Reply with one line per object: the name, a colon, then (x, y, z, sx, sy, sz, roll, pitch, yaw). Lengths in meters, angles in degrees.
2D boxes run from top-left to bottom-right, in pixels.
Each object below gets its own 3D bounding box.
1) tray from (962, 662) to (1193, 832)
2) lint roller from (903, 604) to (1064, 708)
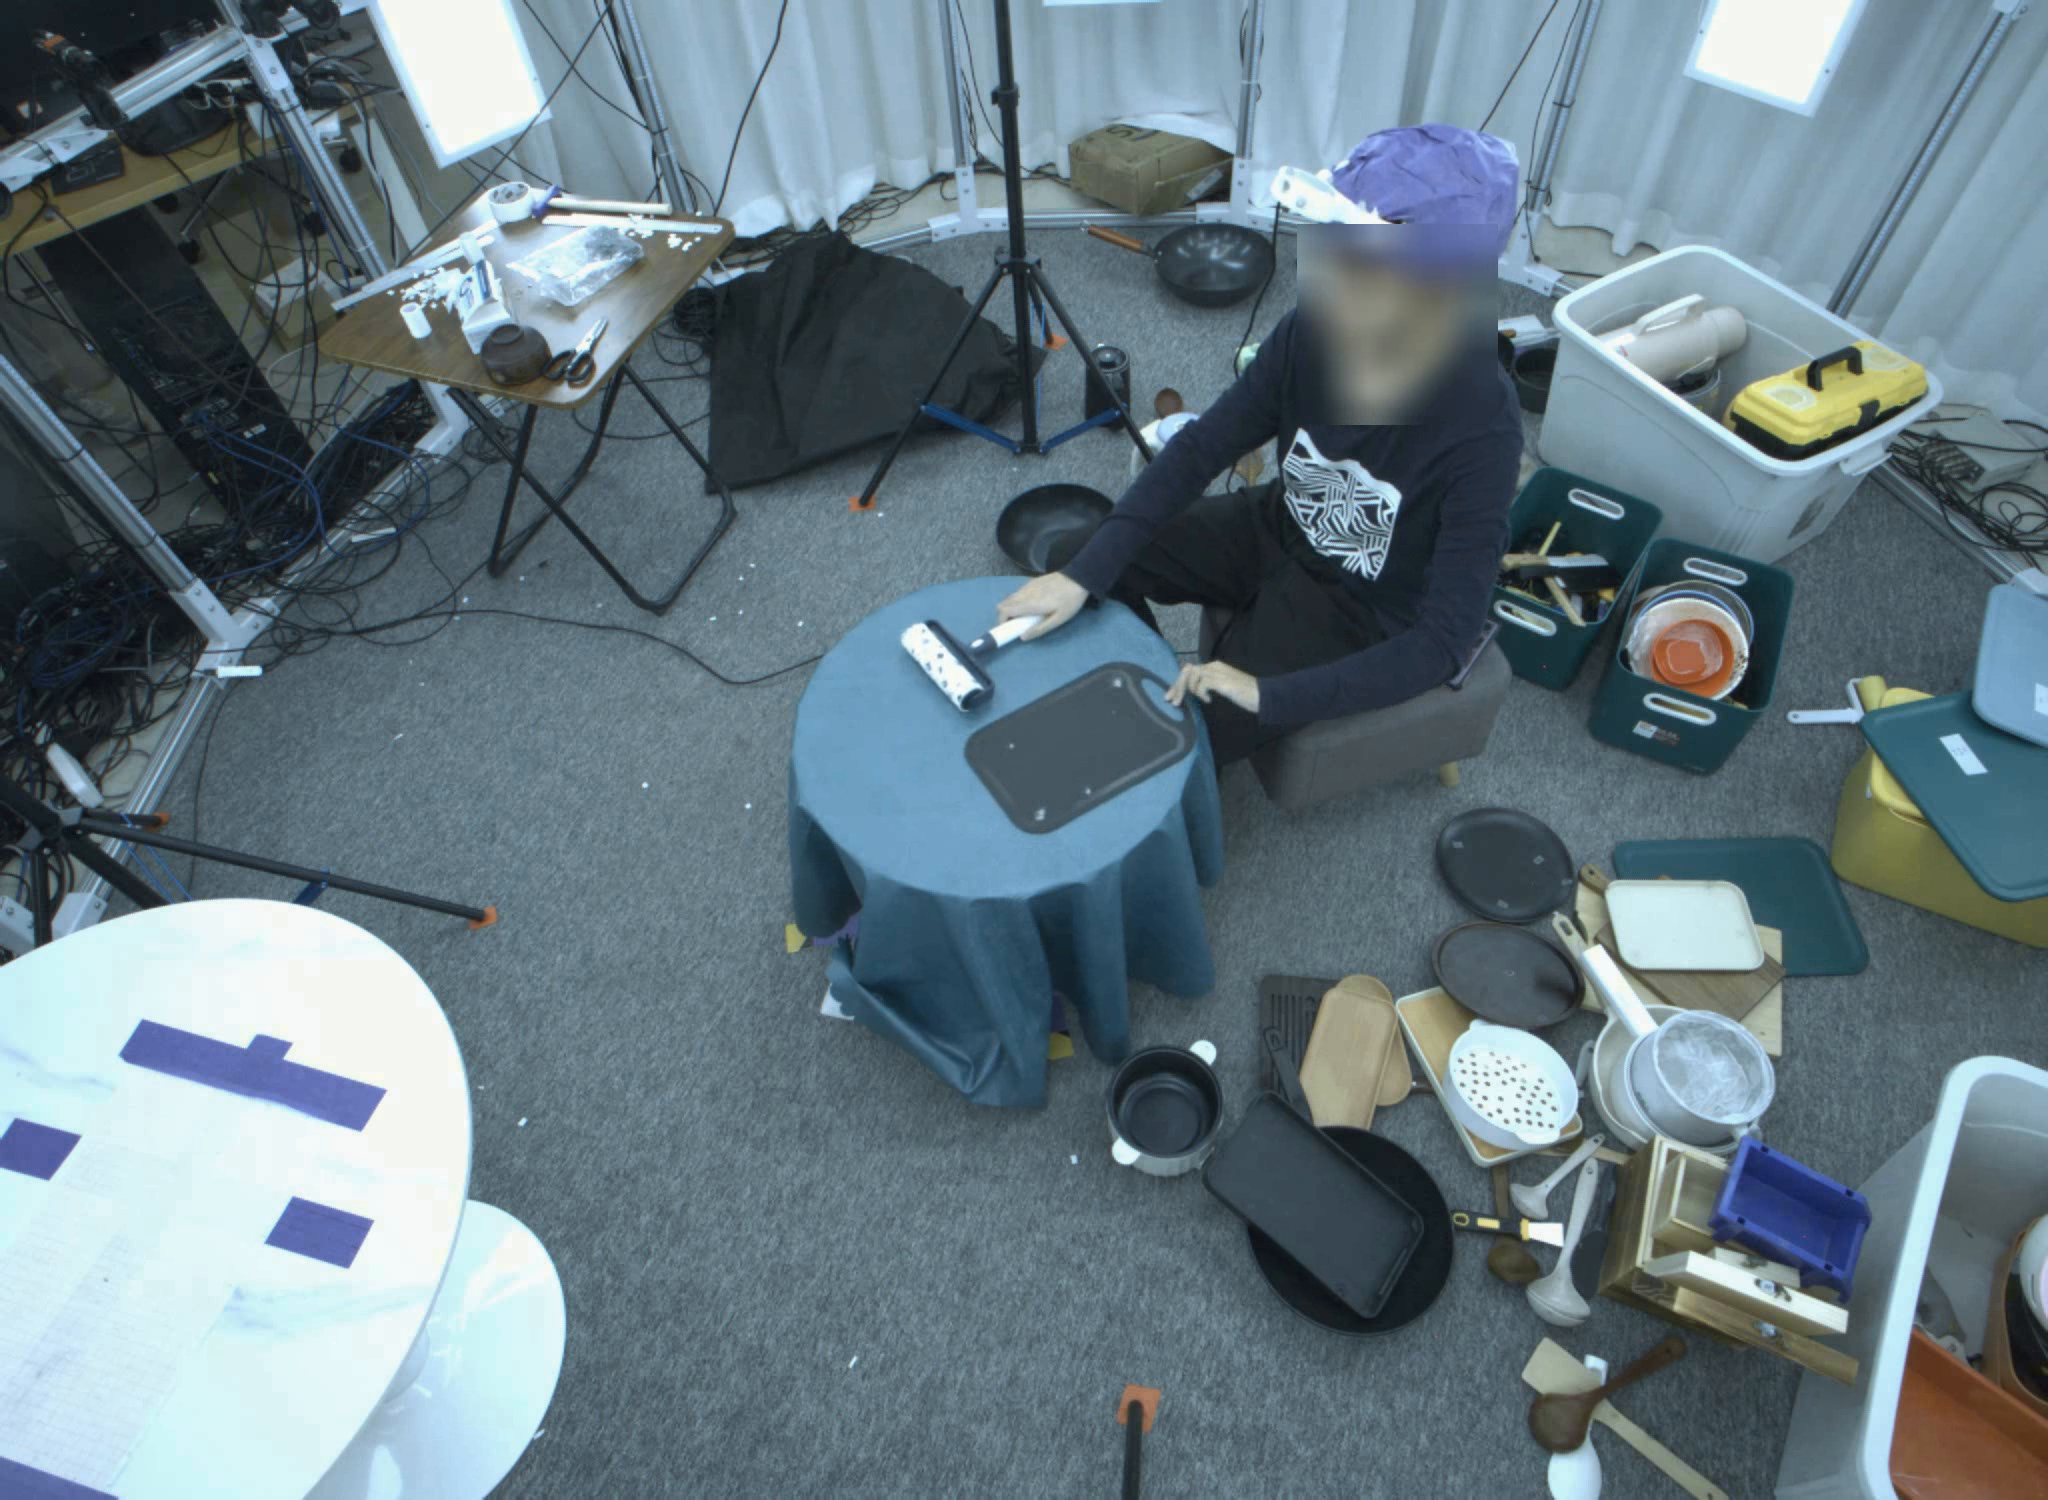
tray: (0.084, -0.015, 1.800, 0.328, 0.010, 0.207, -28, 59, -17)
lint roller: (-0.043, -0.175, 1.897, 0.249, 0.051, 0.173, -30, 58, -22)
